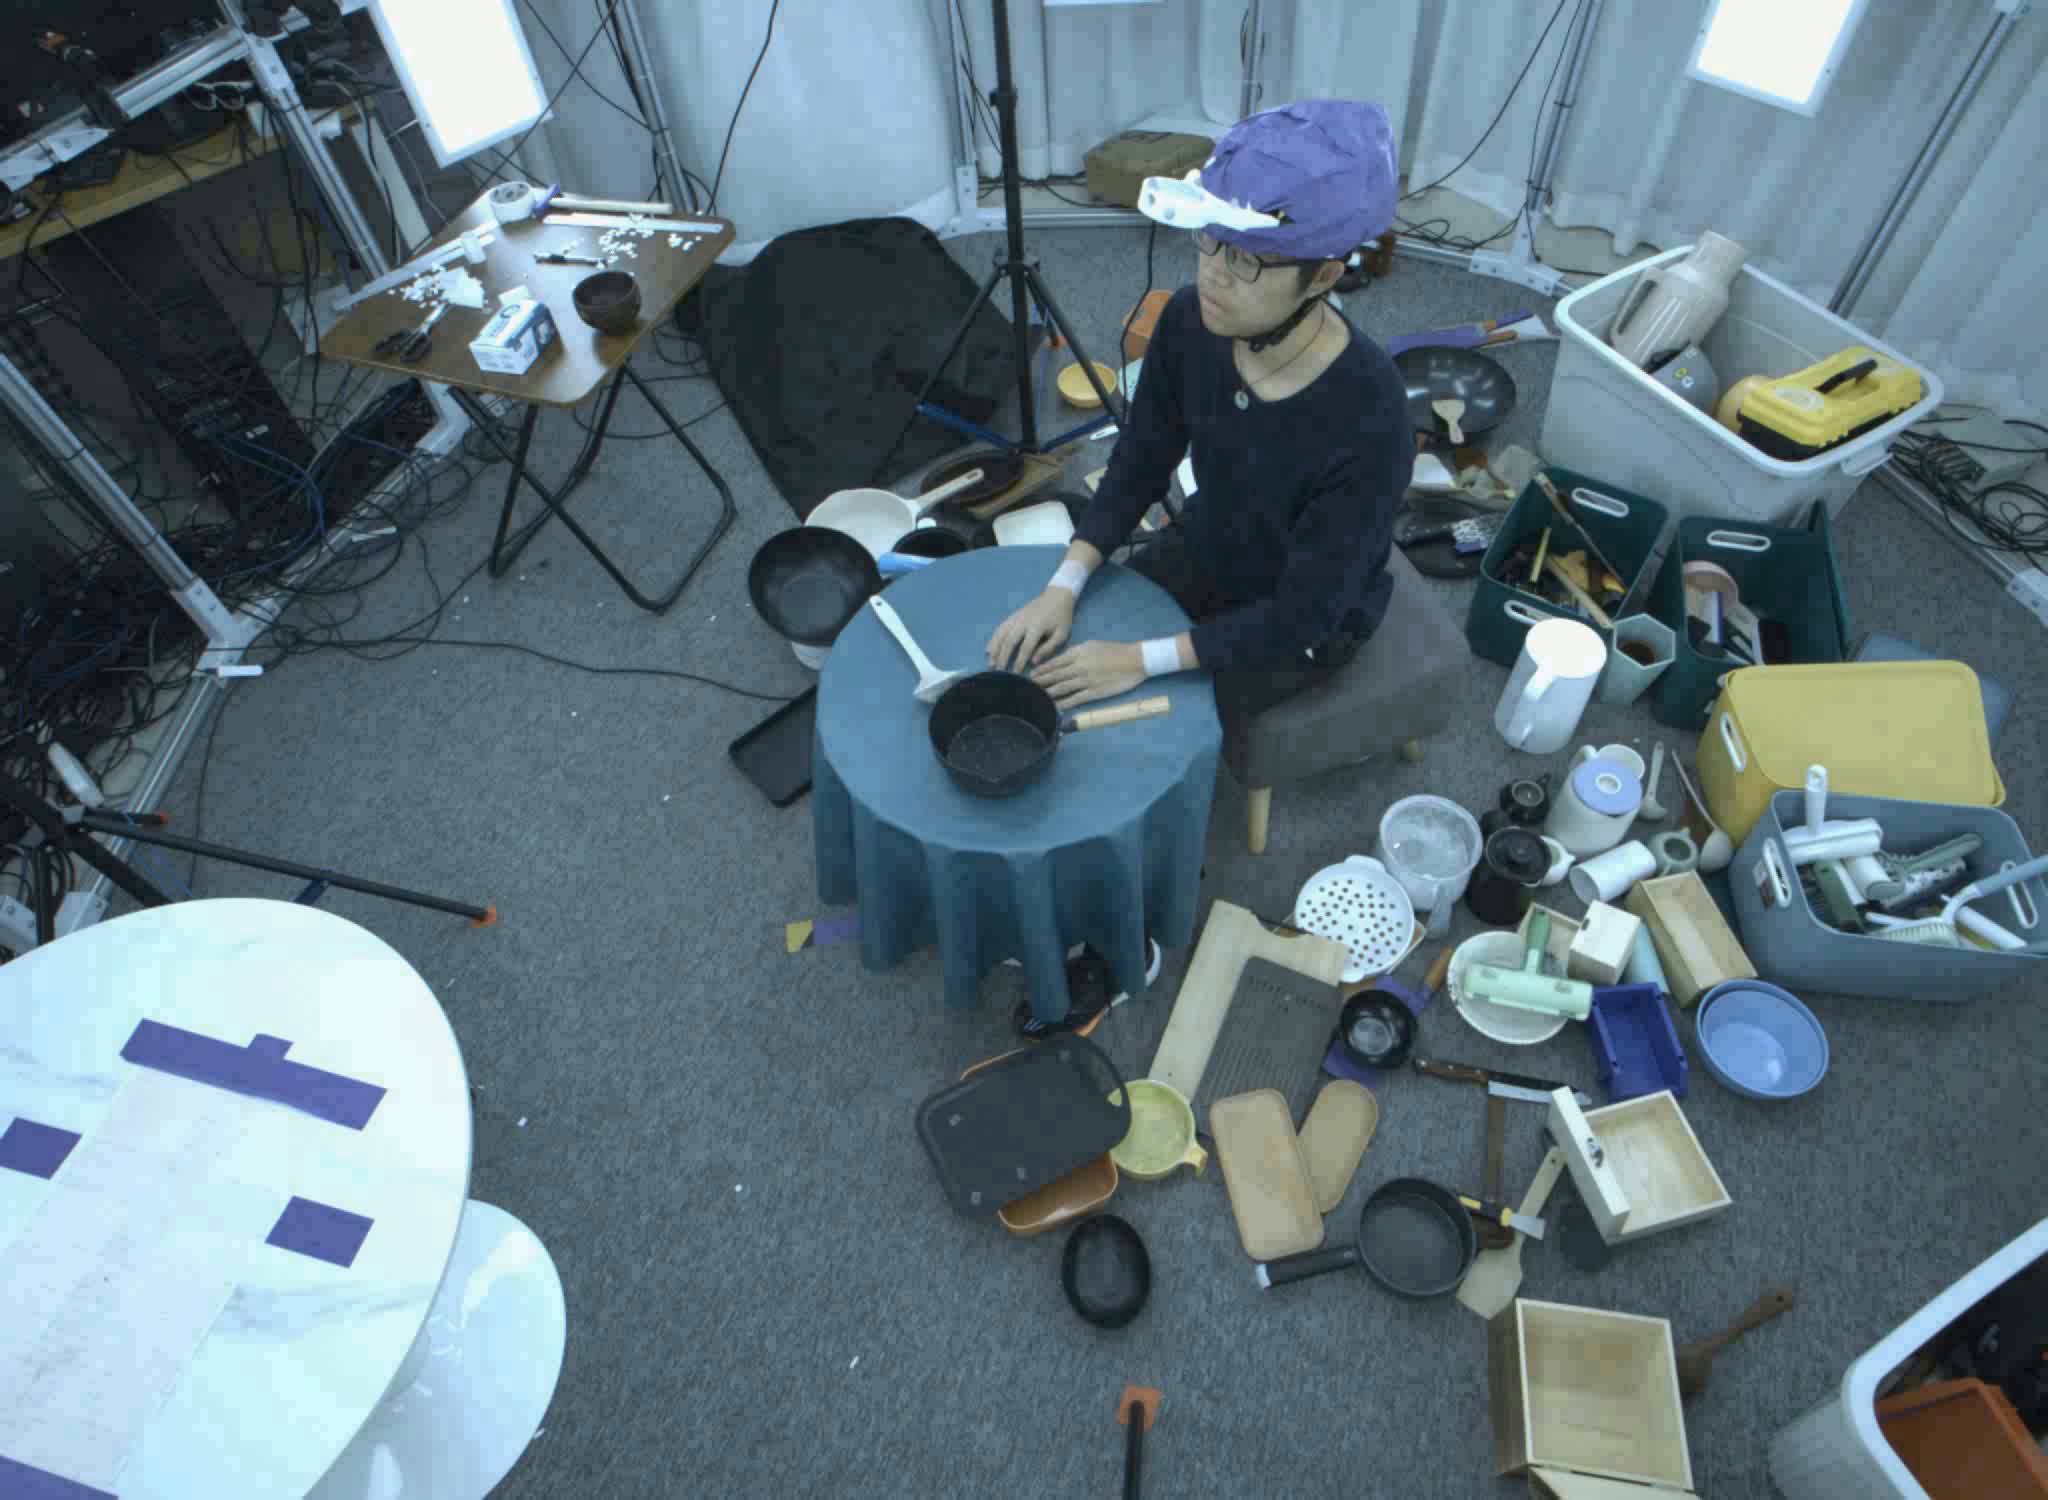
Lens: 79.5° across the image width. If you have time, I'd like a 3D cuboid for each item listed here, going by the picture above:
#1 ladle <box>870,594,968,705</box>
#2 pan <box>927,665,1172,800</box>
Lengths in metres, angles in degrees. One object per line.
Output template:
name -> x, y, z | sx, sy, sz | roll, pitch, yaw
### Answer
ladle -> -0.178, -0.173, 1.874 | 0.090, 0.070, 0.269 | -29, 59, -12
pan -> 0.038, -0.028, 1.739 | 0.343, 0.109, 0.205 | -5, 54, 0
